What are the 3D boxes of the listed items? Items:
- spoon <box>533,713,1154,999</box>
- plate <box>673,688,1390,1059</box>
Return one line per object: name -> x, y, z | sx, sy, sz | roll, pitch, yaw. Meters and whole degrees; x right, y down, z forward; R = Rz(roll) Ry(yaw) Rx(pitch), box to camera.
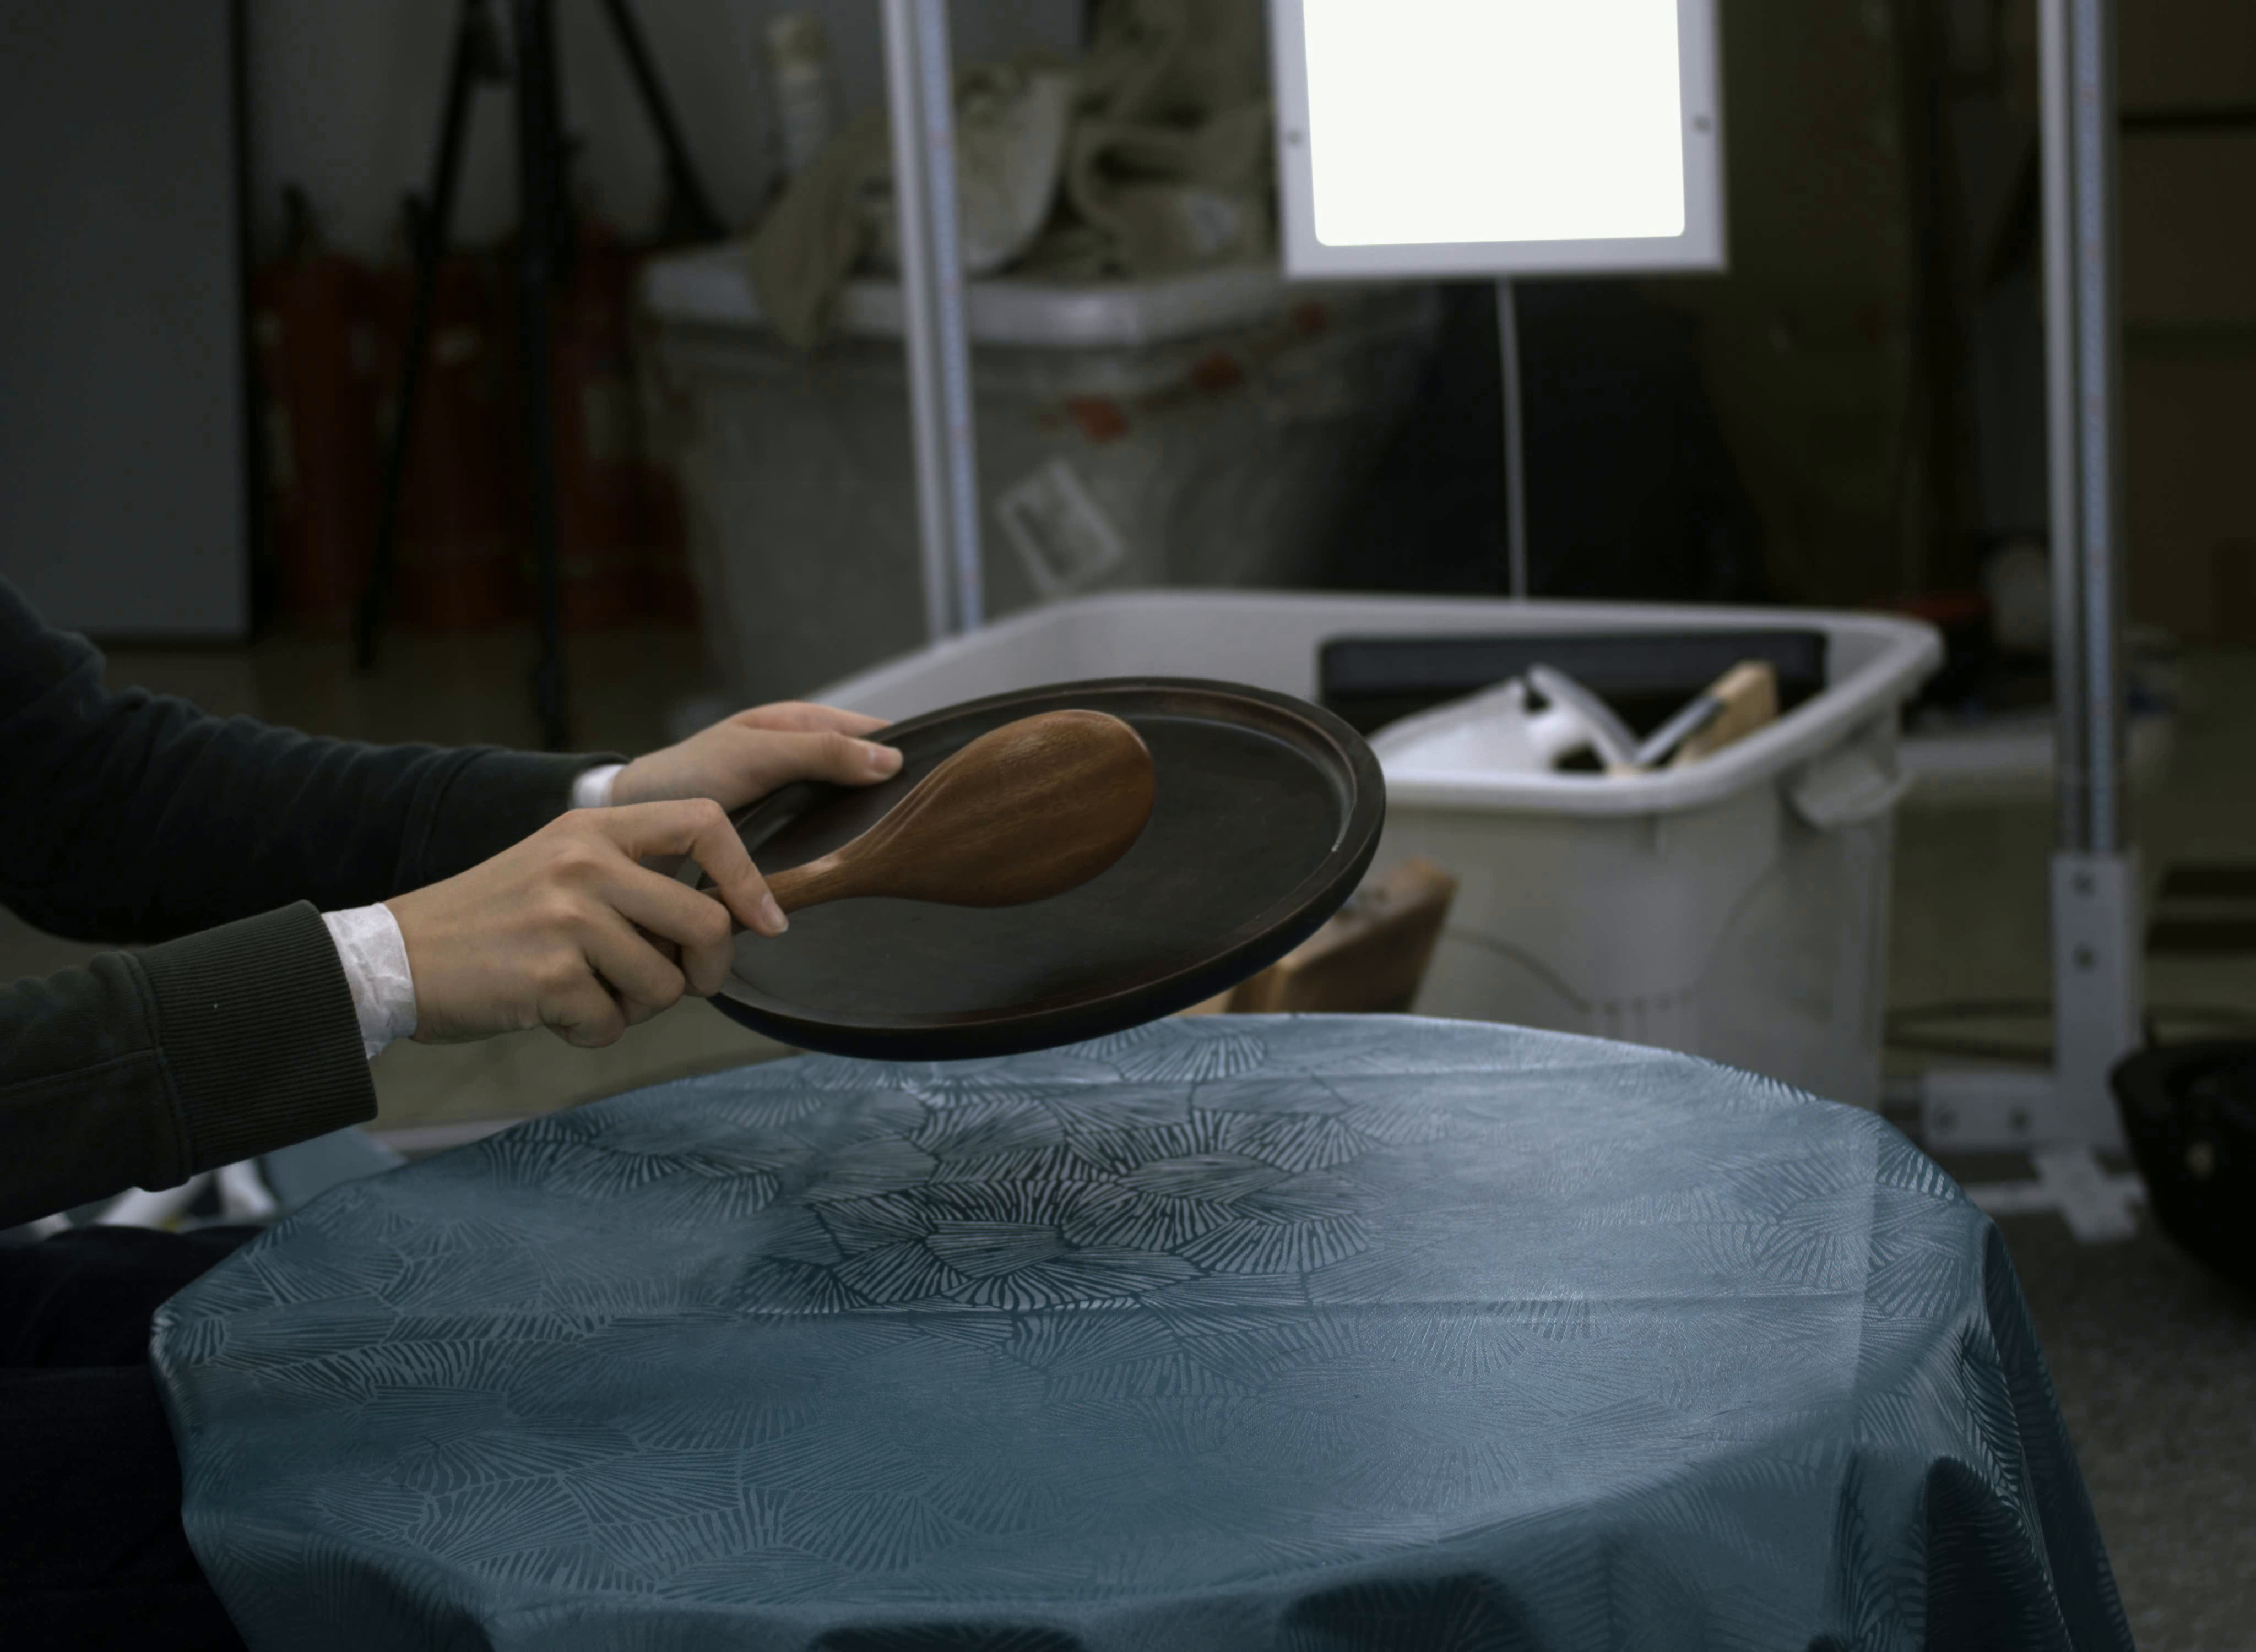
spoon -> -0.090, 0.016, 1.793 | 0.213, 0.076, 0.017 | -17, 42, -11
plate -> -0.034, 0.014, 1.893 | 0.255, 0.029, 0.254 | -10, 25, 3
